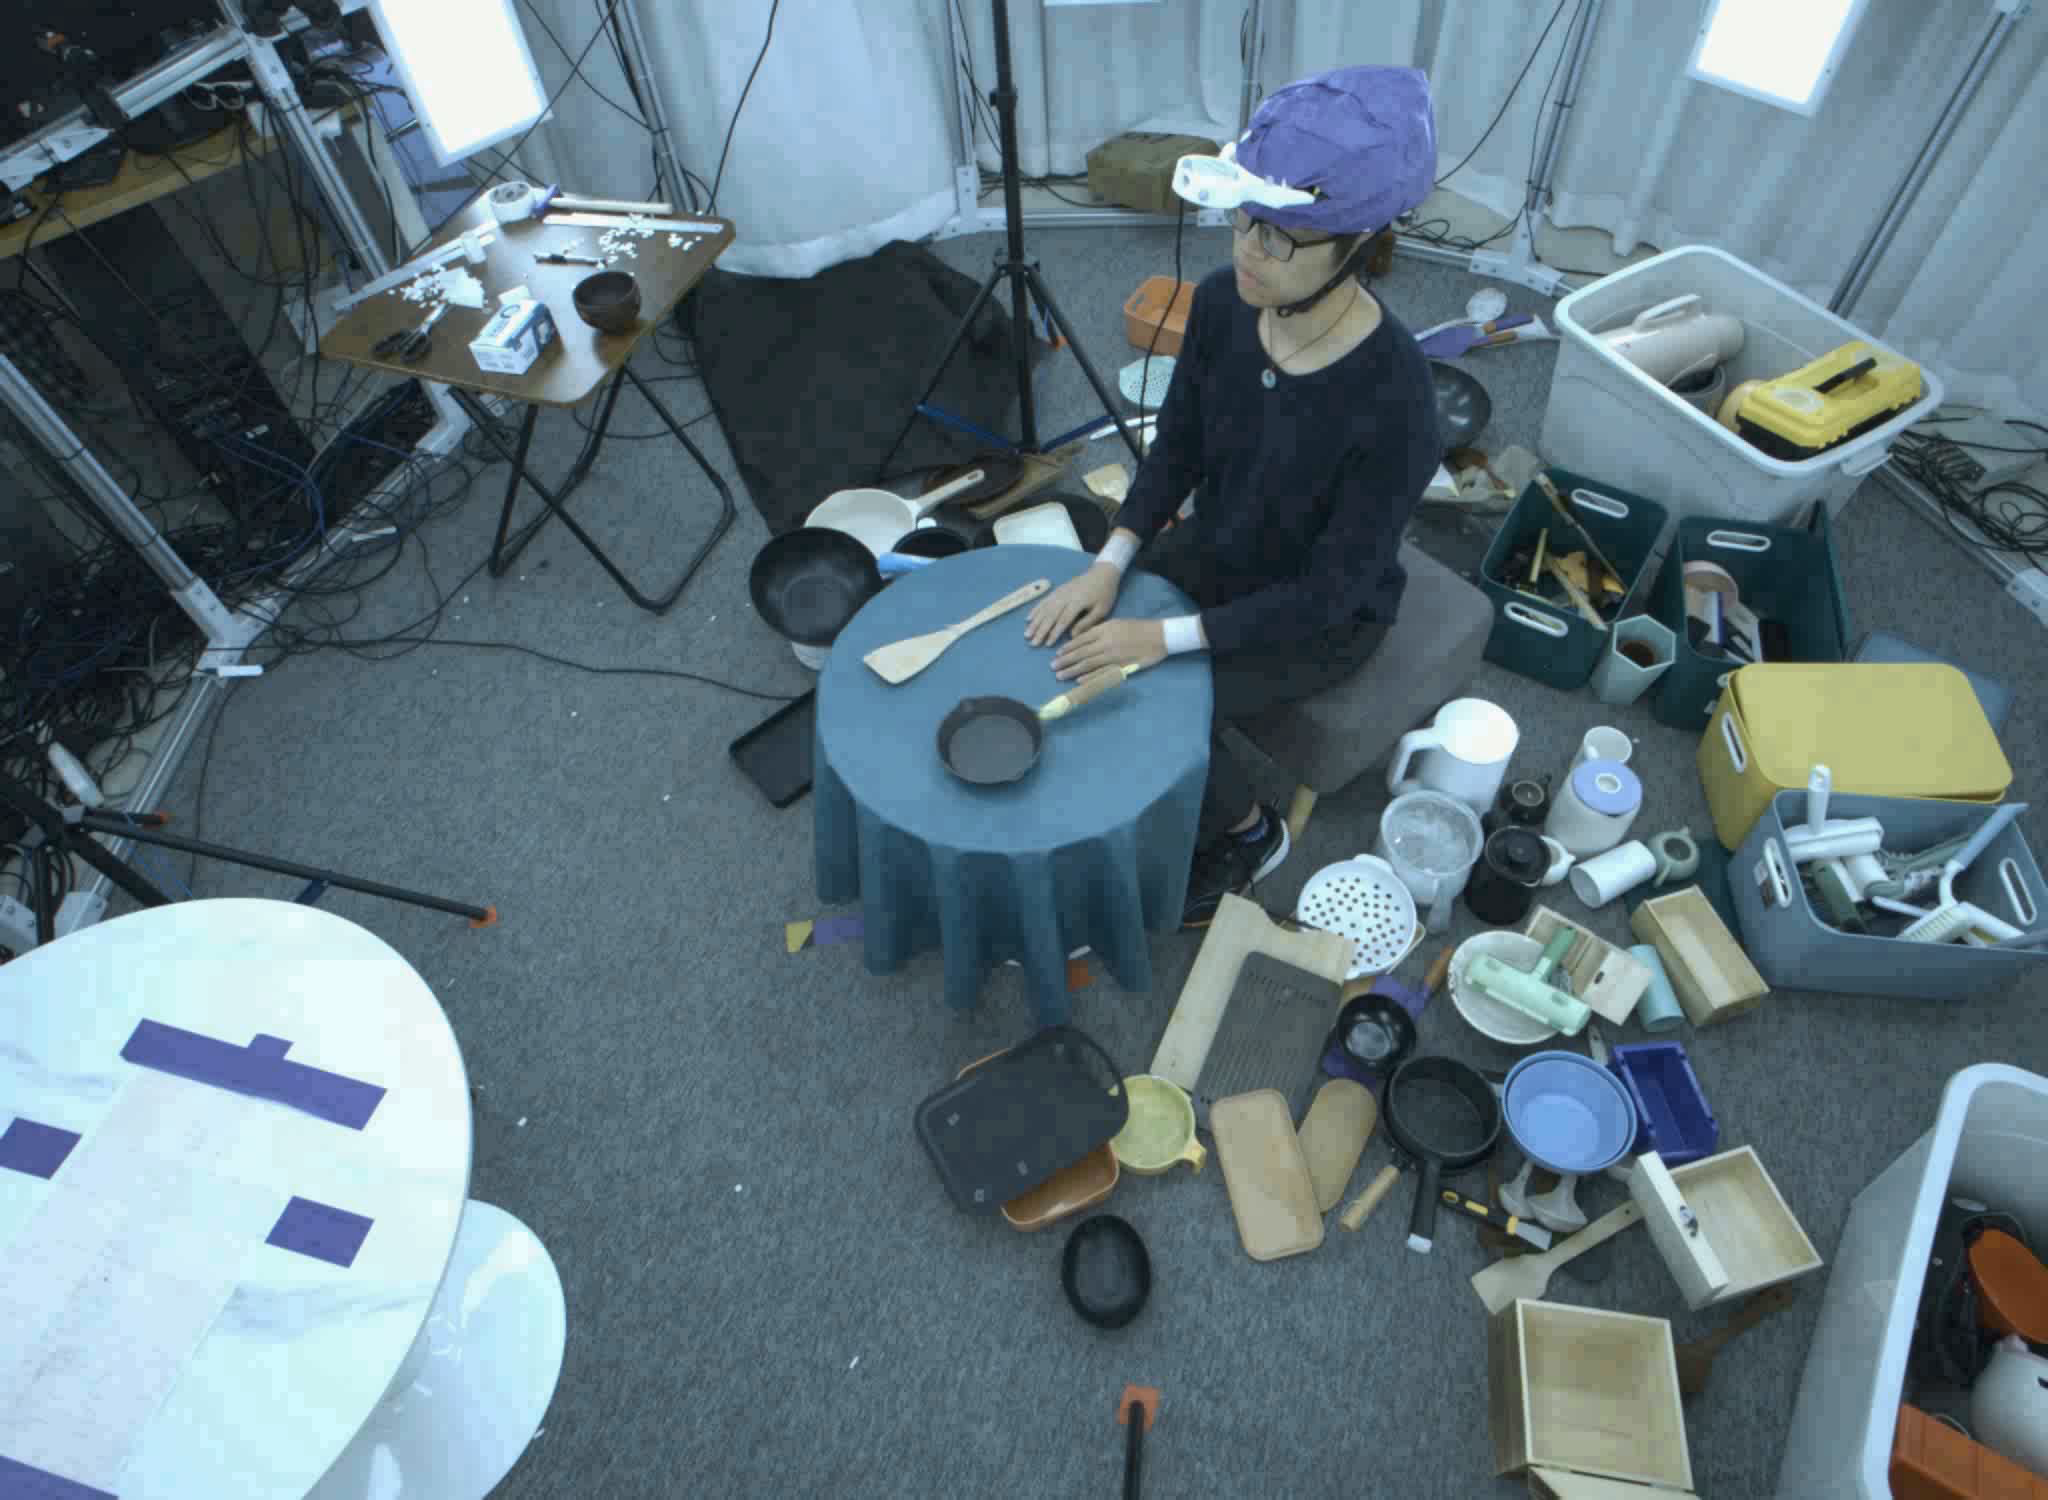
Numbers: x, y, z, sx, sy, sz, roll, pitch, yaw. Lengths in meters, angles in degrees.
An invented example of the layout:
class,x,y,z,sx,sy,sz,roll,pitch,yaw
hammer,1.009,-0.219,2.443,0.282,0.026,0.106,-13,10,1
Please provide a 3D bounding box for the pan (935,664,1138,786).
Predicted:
class,x,y,z,sx,sy,sz,roll,pitch,yaw
pan,0.026,-0.048,1.789,0.326,0.050,0.166,-25,57,-13

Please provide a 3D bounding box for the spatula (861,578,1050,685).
class,x,y,z,sx,sy,sz,roll,pitch,yaw
spatula,-0.097,-0.193,1.917,0.330,0.017,0.078,-30,60,-18
